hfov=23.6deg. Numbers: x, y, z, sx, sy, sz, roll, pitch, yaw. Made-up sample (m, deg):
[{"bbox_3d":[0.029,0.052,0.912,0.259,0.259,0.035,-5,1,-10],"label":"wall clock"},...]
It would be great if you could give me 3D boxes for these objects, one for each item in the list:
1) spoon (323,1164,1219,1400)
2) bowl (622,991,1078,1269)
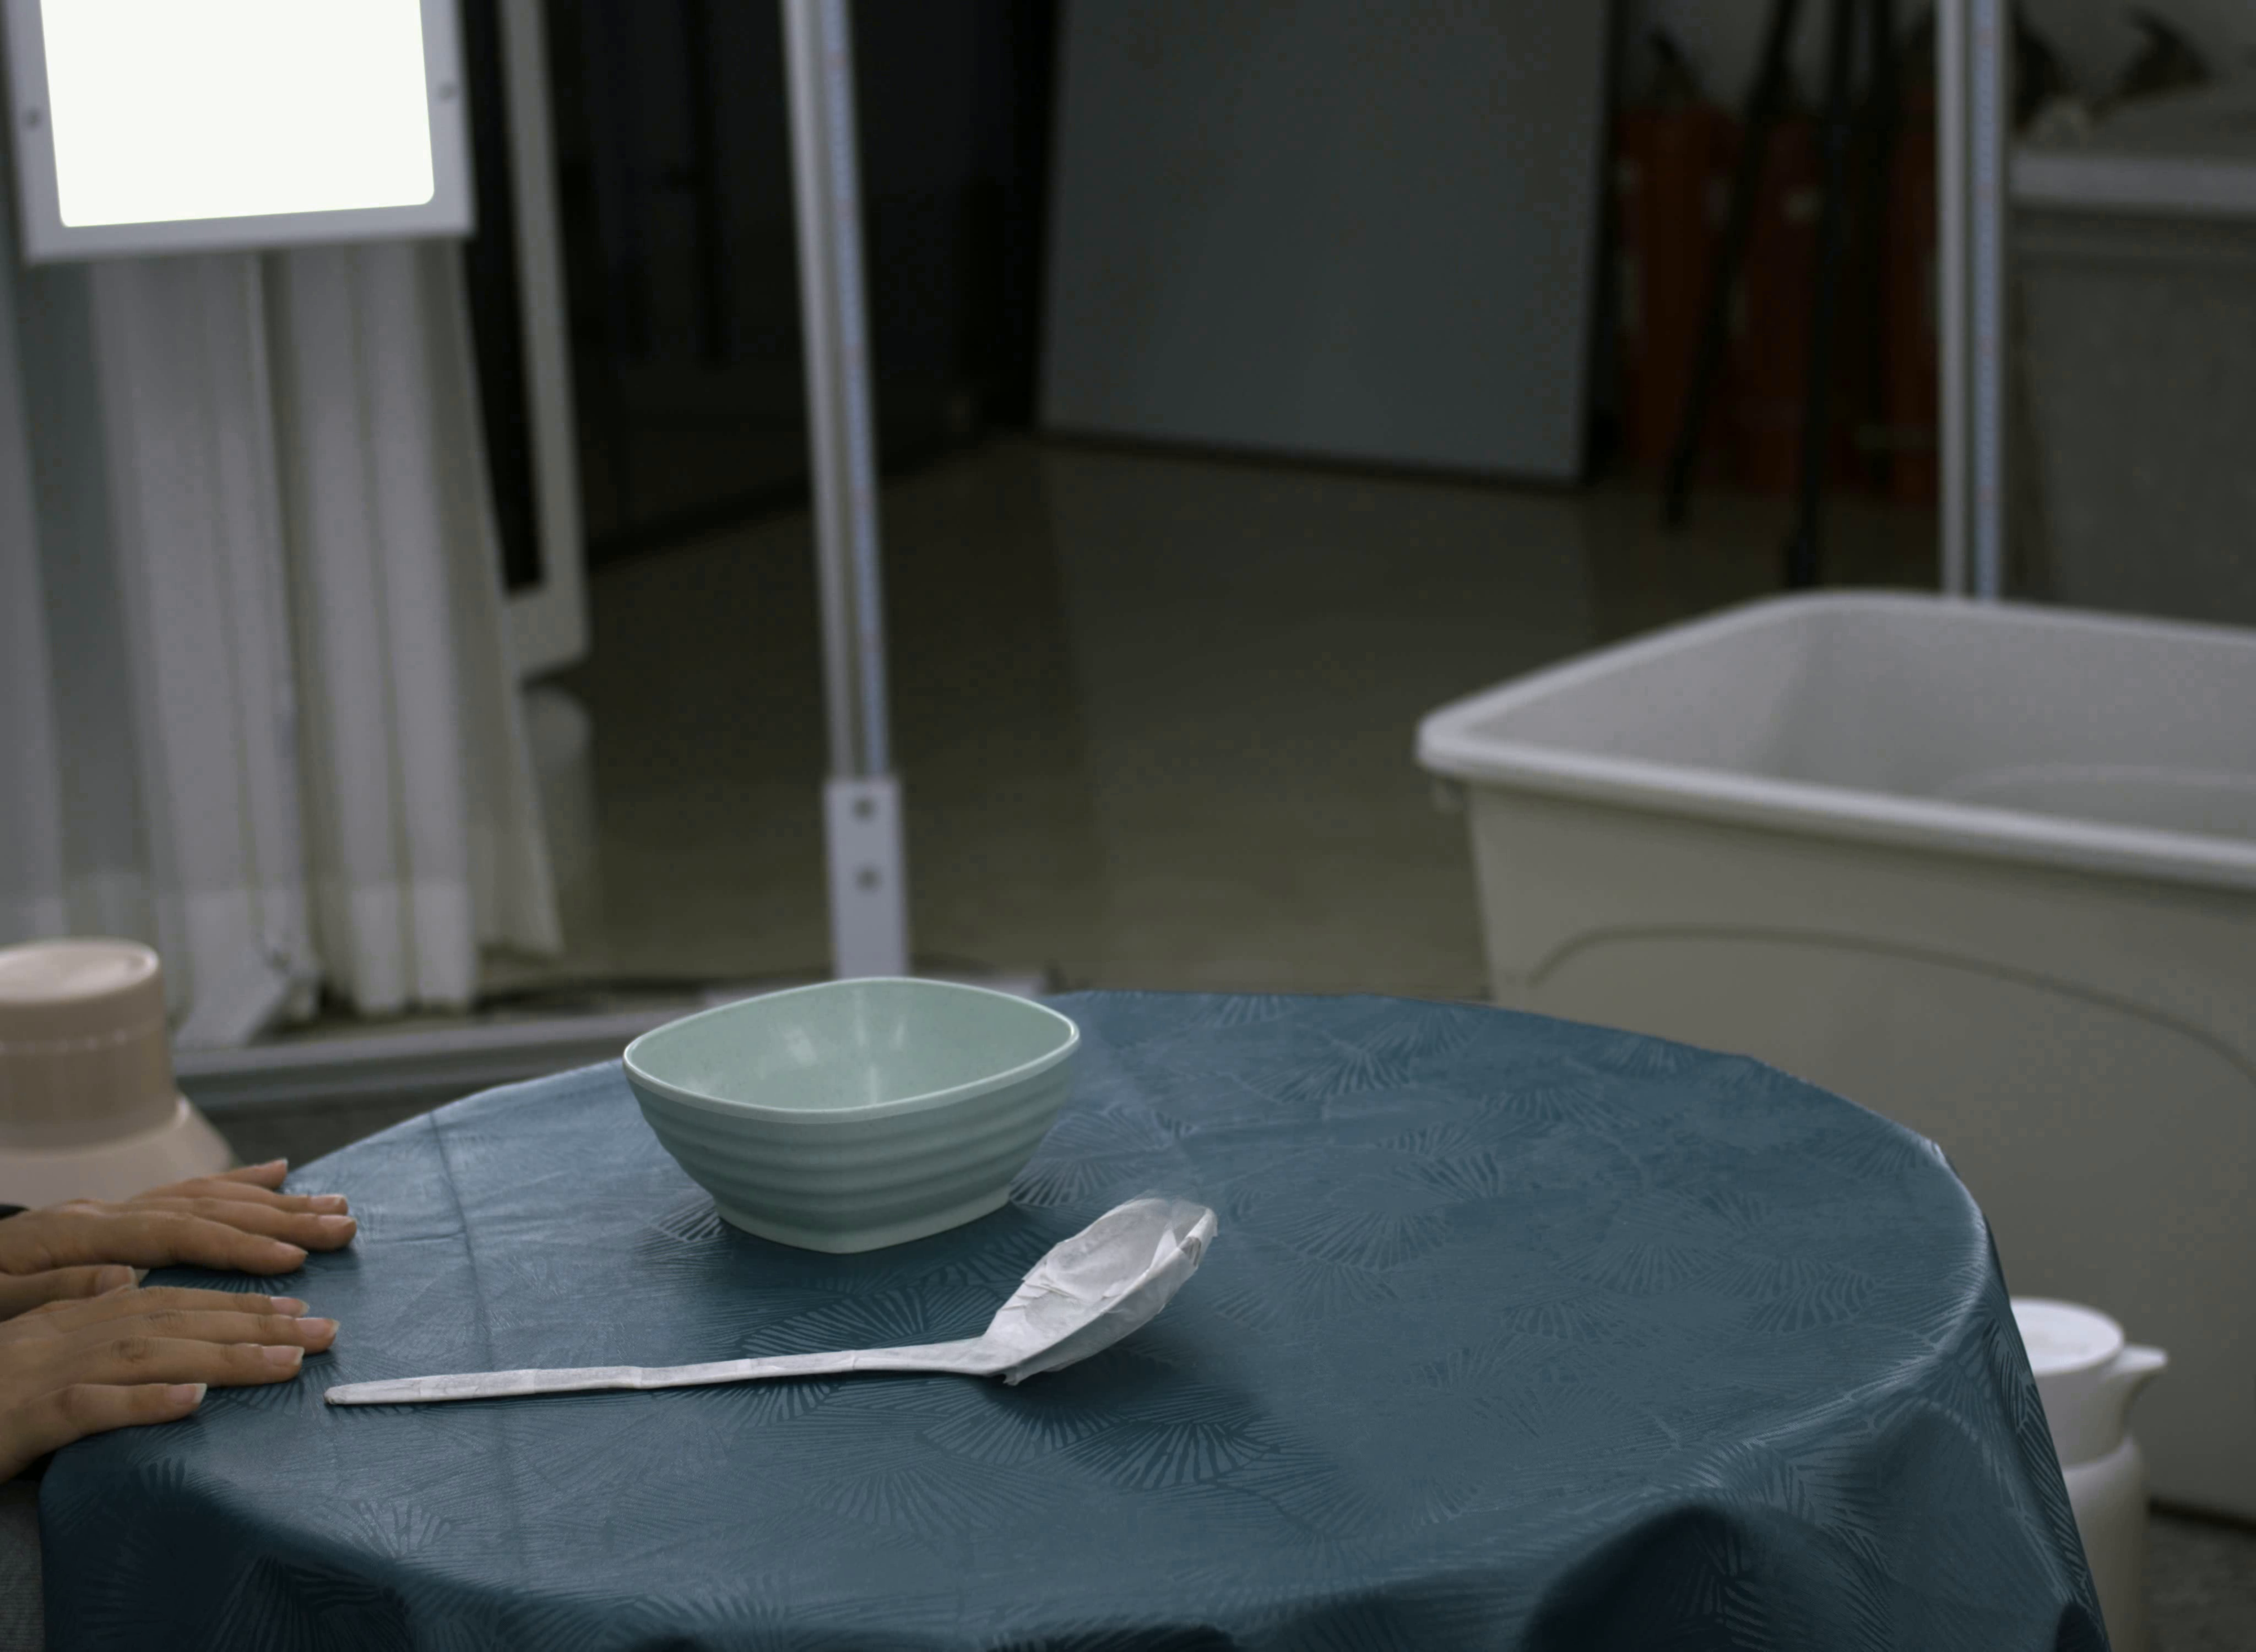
[{"bbox_3d":[-0.107,0.136,1.620,0.275,0.060,0.100,-3,9,6],"label":"spoon"},{"bbox_3d":[-0.089,0.102,1.766,0.149,0.059,0.152,-4,13,0],"label":"bowl"}]
